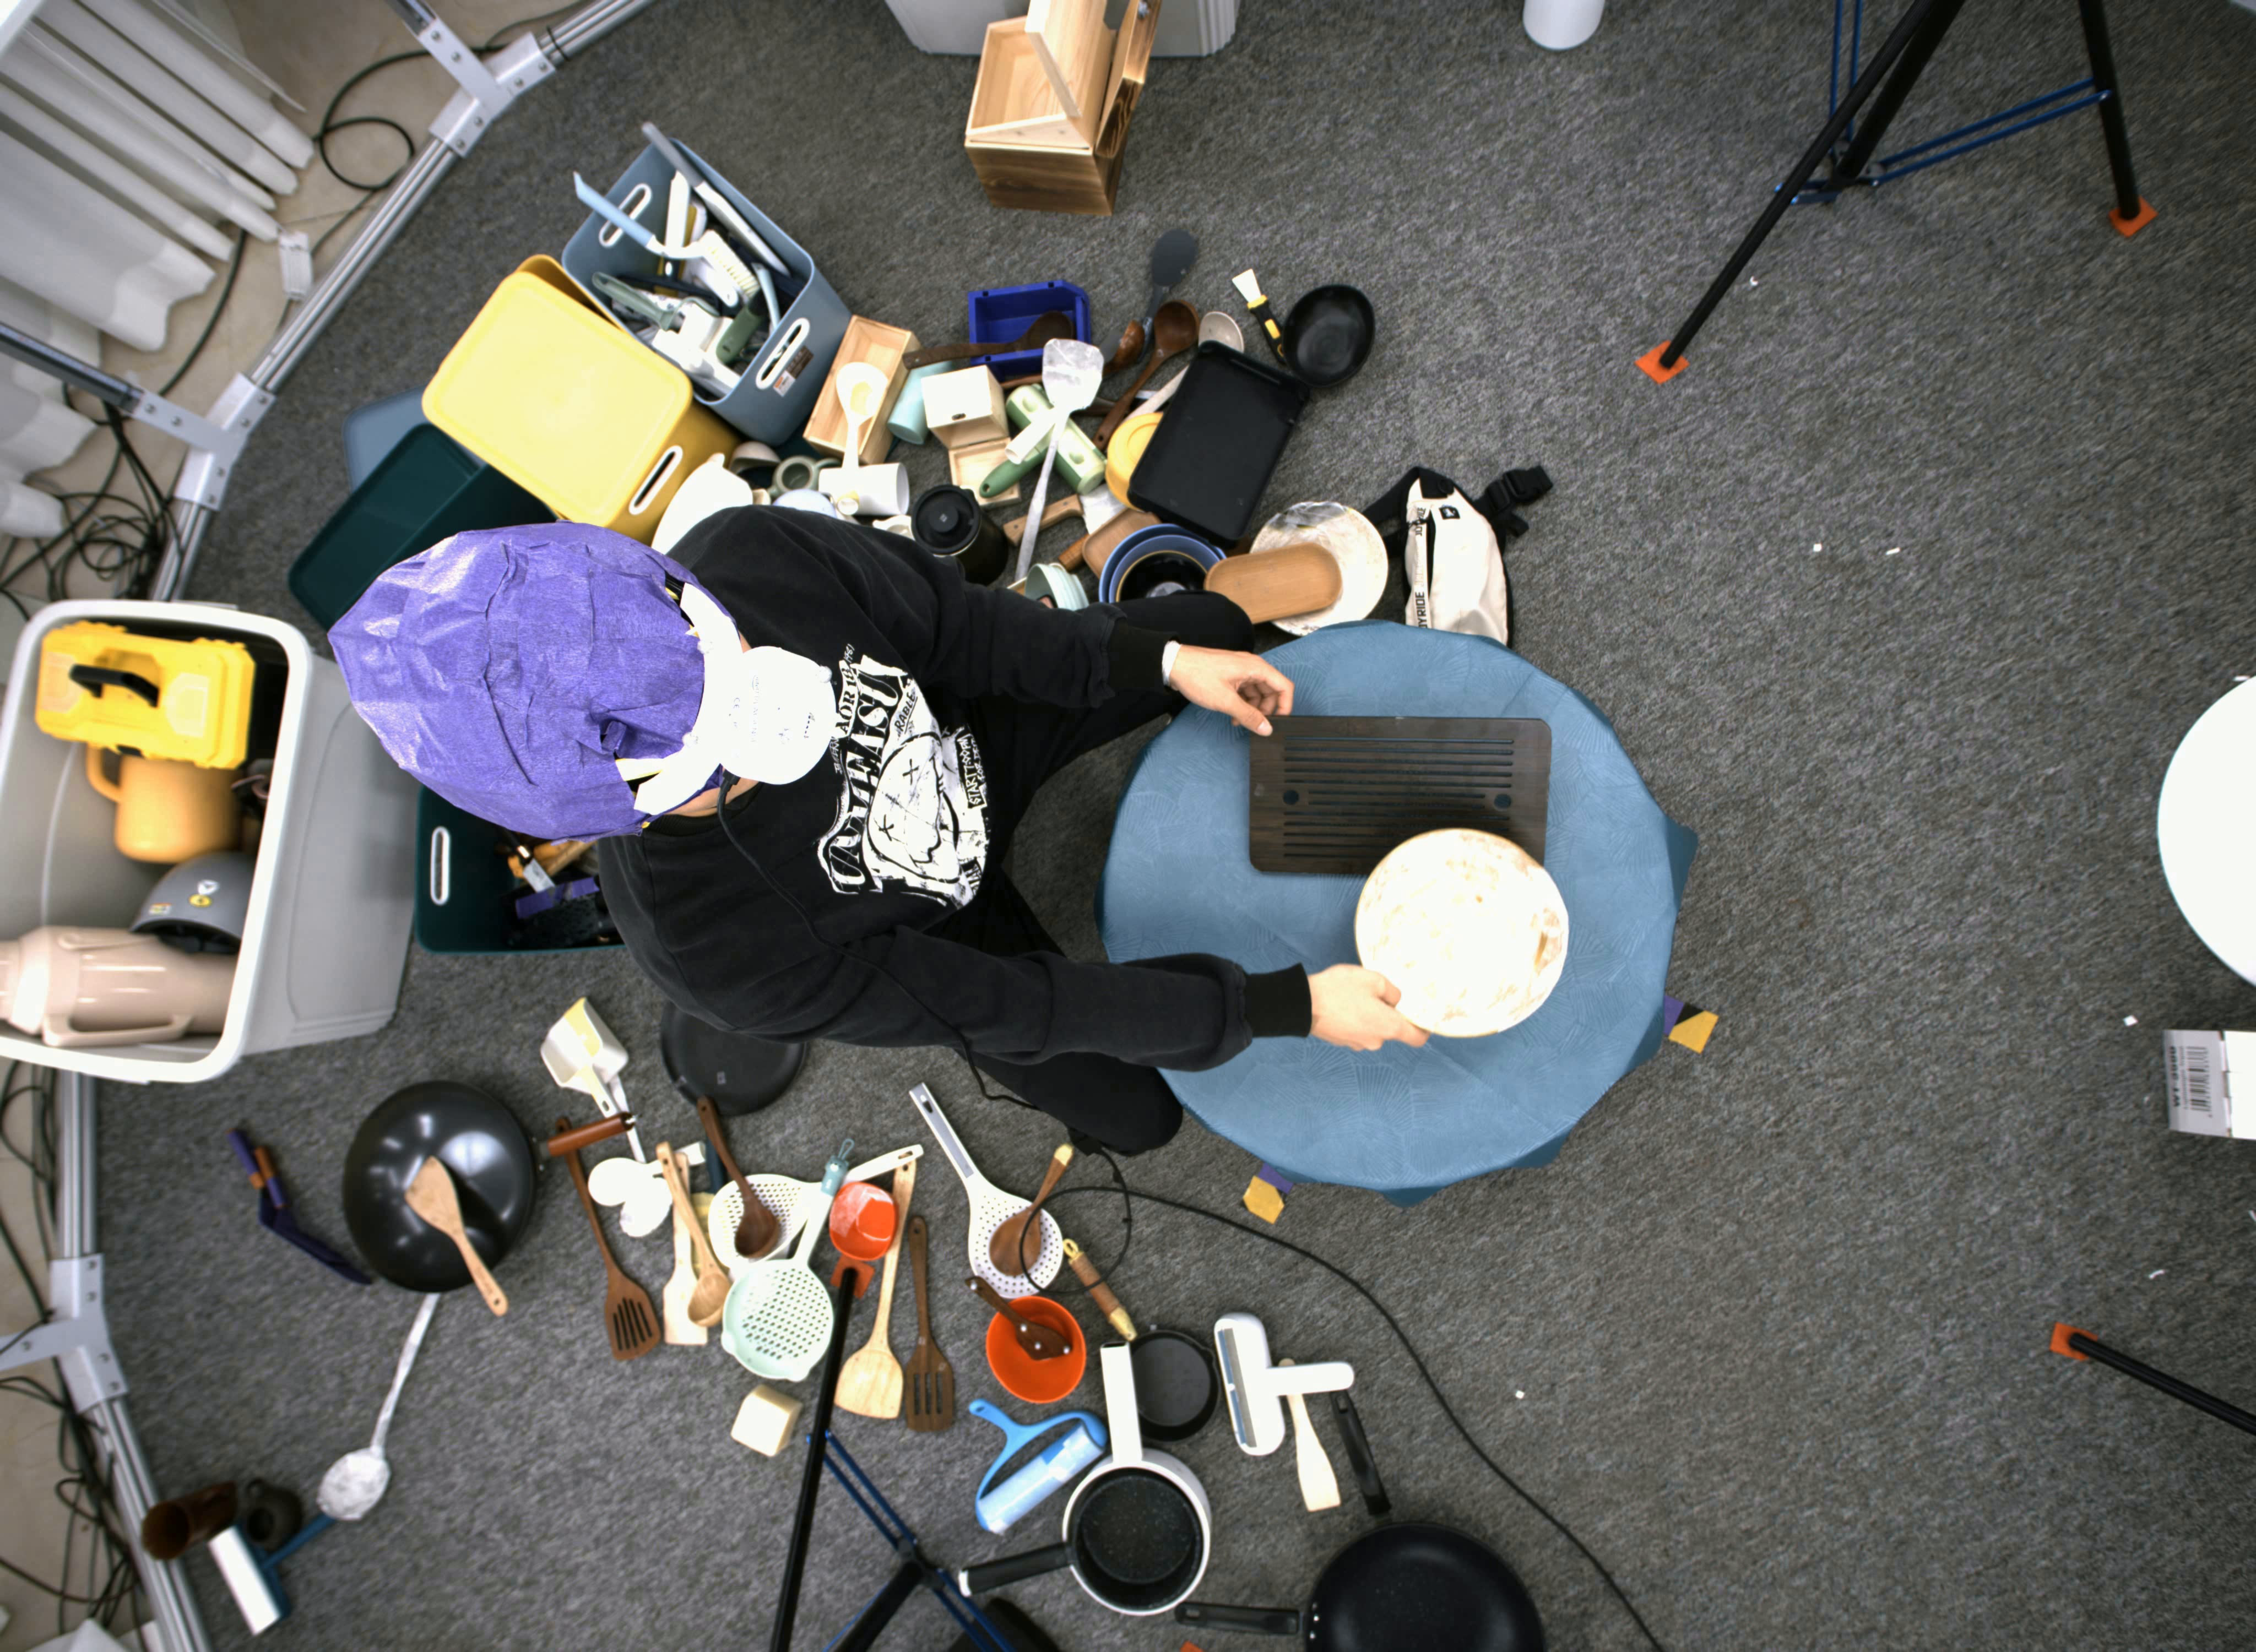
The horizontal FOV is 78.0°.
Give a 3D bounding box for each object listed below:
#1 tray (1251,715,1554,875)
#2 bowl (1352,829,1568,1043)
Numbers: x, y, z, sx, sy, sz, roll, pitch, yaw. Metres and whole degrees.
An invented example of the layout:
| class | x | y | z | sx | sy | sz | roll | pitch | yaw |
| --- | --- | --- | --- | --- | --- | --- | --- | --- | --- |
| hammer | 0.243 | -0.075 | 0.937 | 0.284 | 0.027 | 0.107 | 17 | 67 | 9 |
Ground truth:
| class | x | y | z | sx | sy | sz | roll | pitch | yaw |
| --- | --- | --- | --- | --- | --- | --- | --- | --- | --- |
| tray | 0.281 | -0.032 | 1.431 | 0.307 | 0.018 | 0.172 | 1 | 108 | 10 |
| bowl | 0.321 | 0.108 | 1.363 | 0.215 | 0.095 | 0.213 | -1 | 83 | 6 |
